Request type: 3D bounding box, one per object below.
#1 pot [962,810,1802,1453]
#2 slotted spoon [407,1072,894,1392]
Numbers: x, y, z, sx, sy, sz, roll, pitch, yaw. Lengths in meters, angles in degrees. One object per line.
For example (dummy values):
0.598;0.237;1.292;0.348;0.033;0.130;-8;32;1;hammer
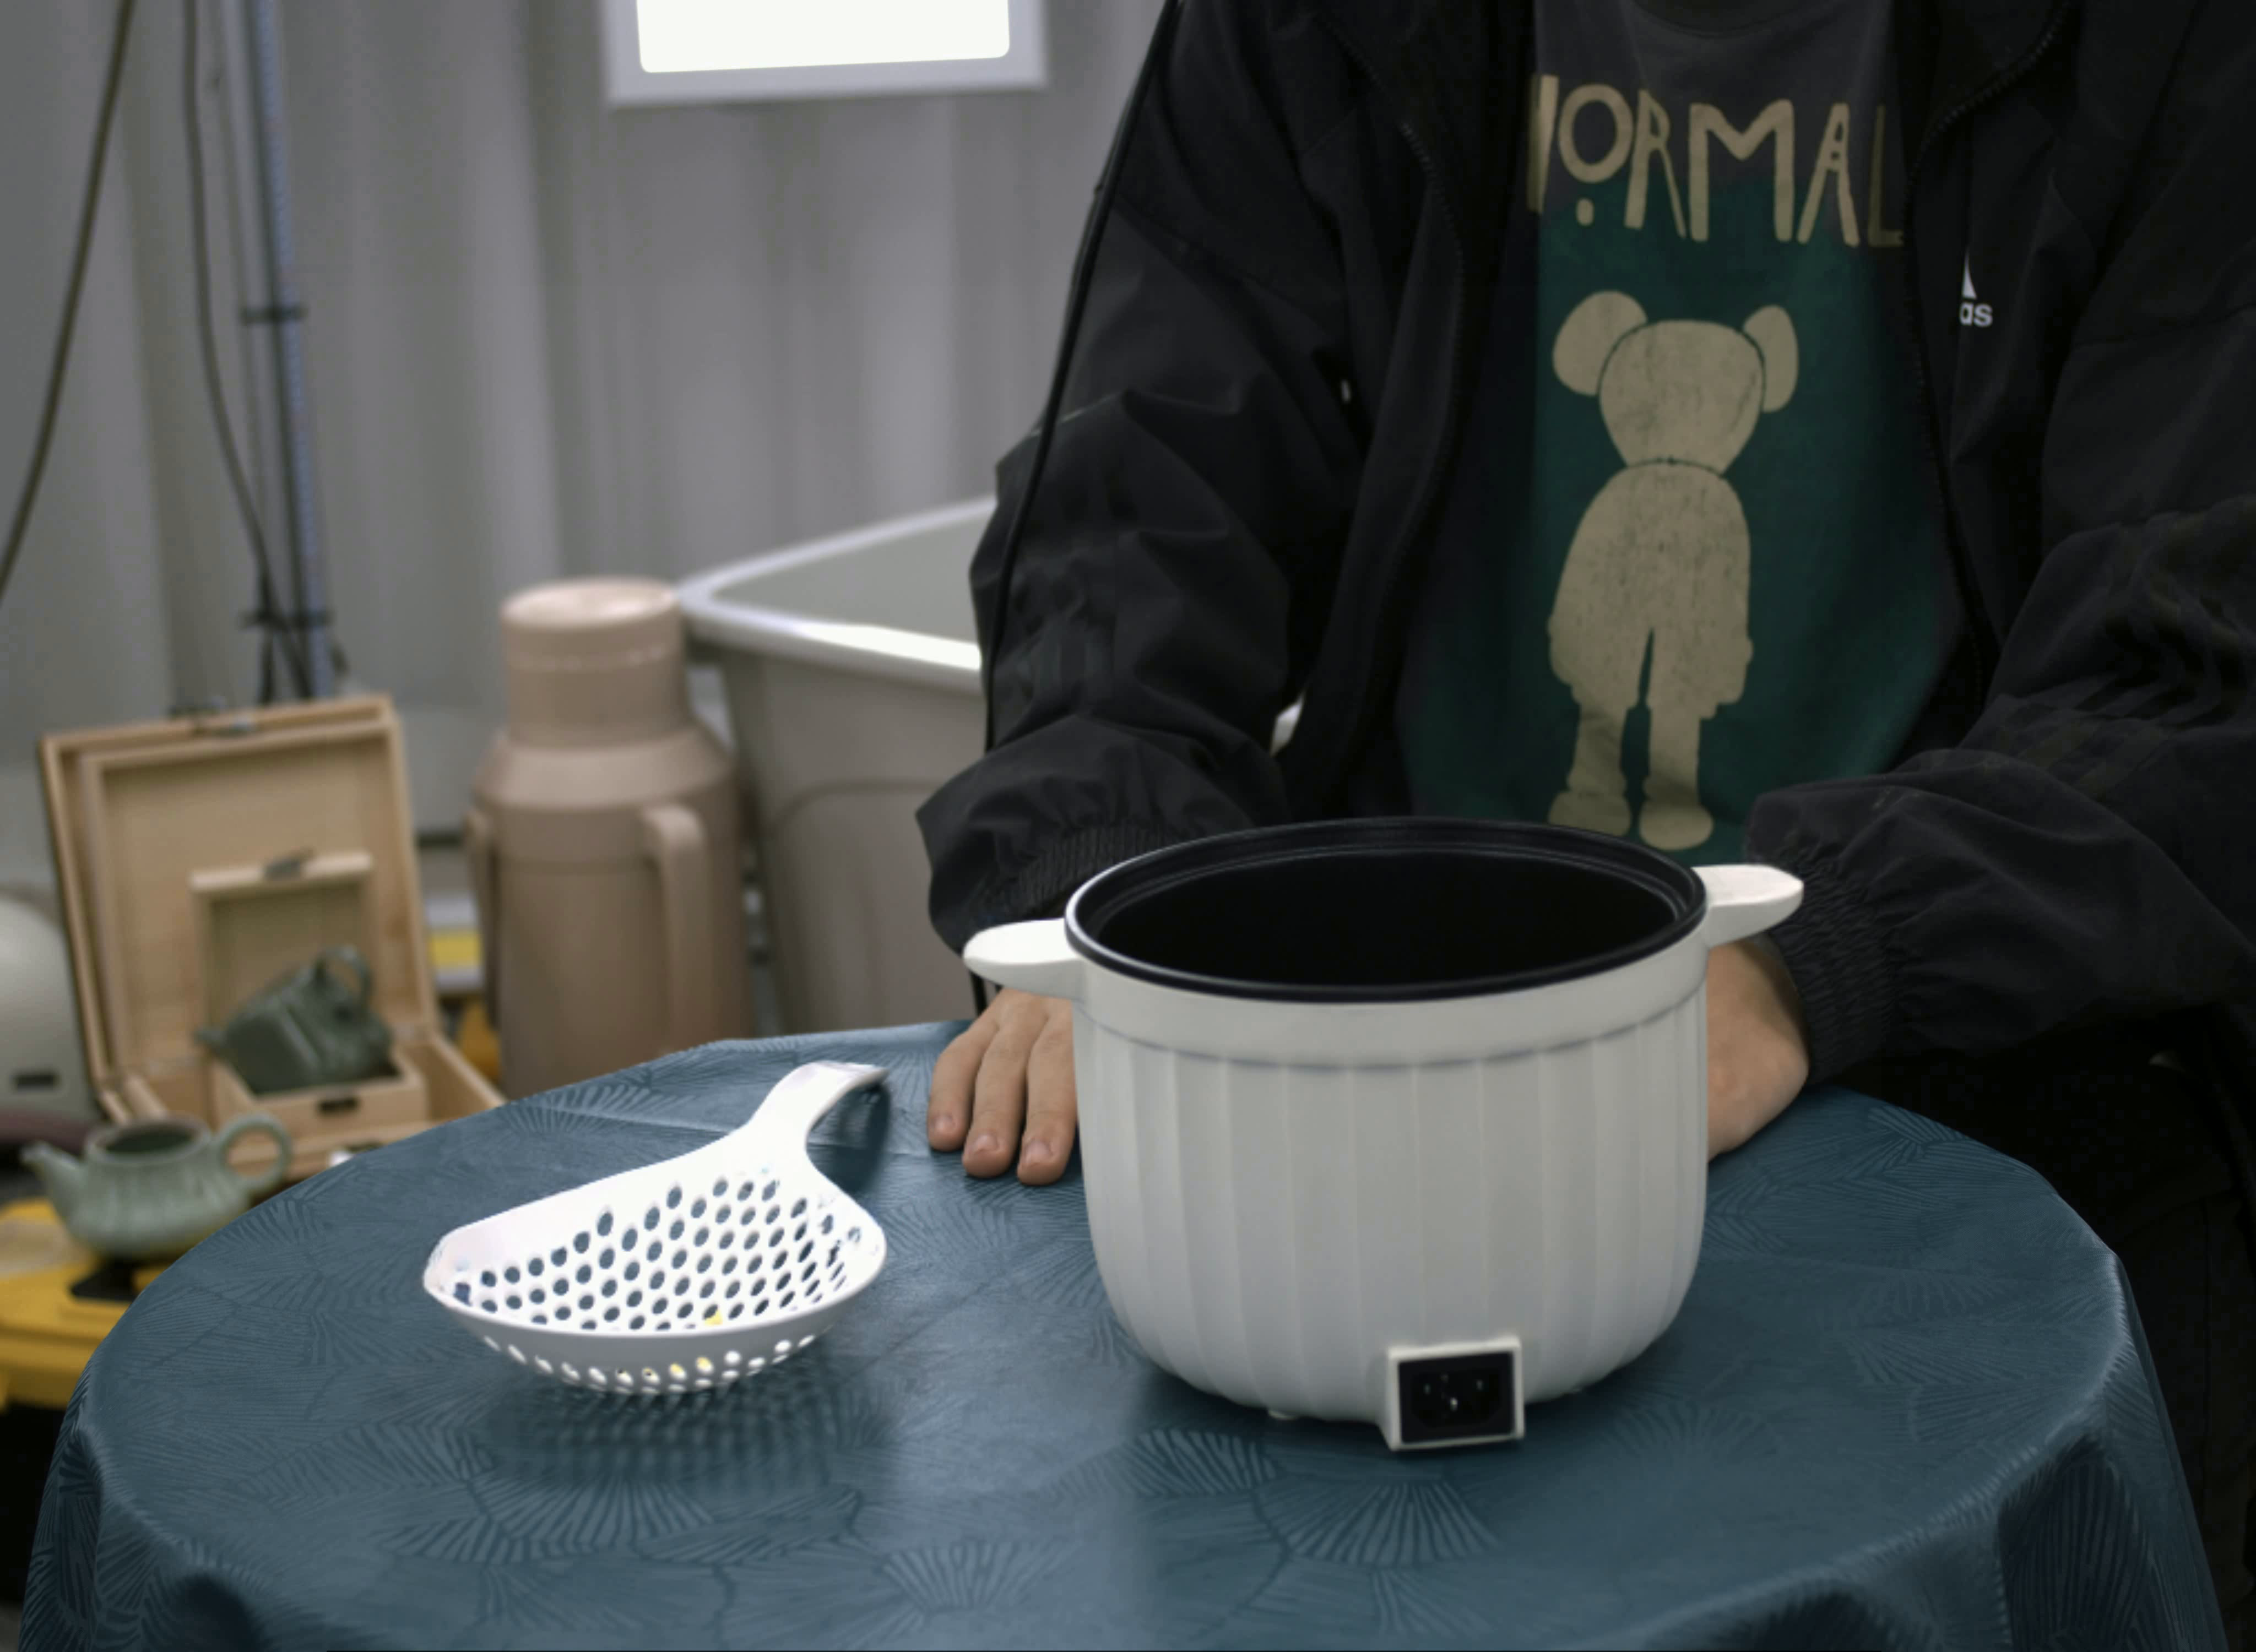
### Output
0.073;0.083;1.553;0.239;0.142;0.192;-4;17;-8;pot
-0.116;0.110;1.671;0.136;0.050;0.350;0;15;10;slotted spoon
